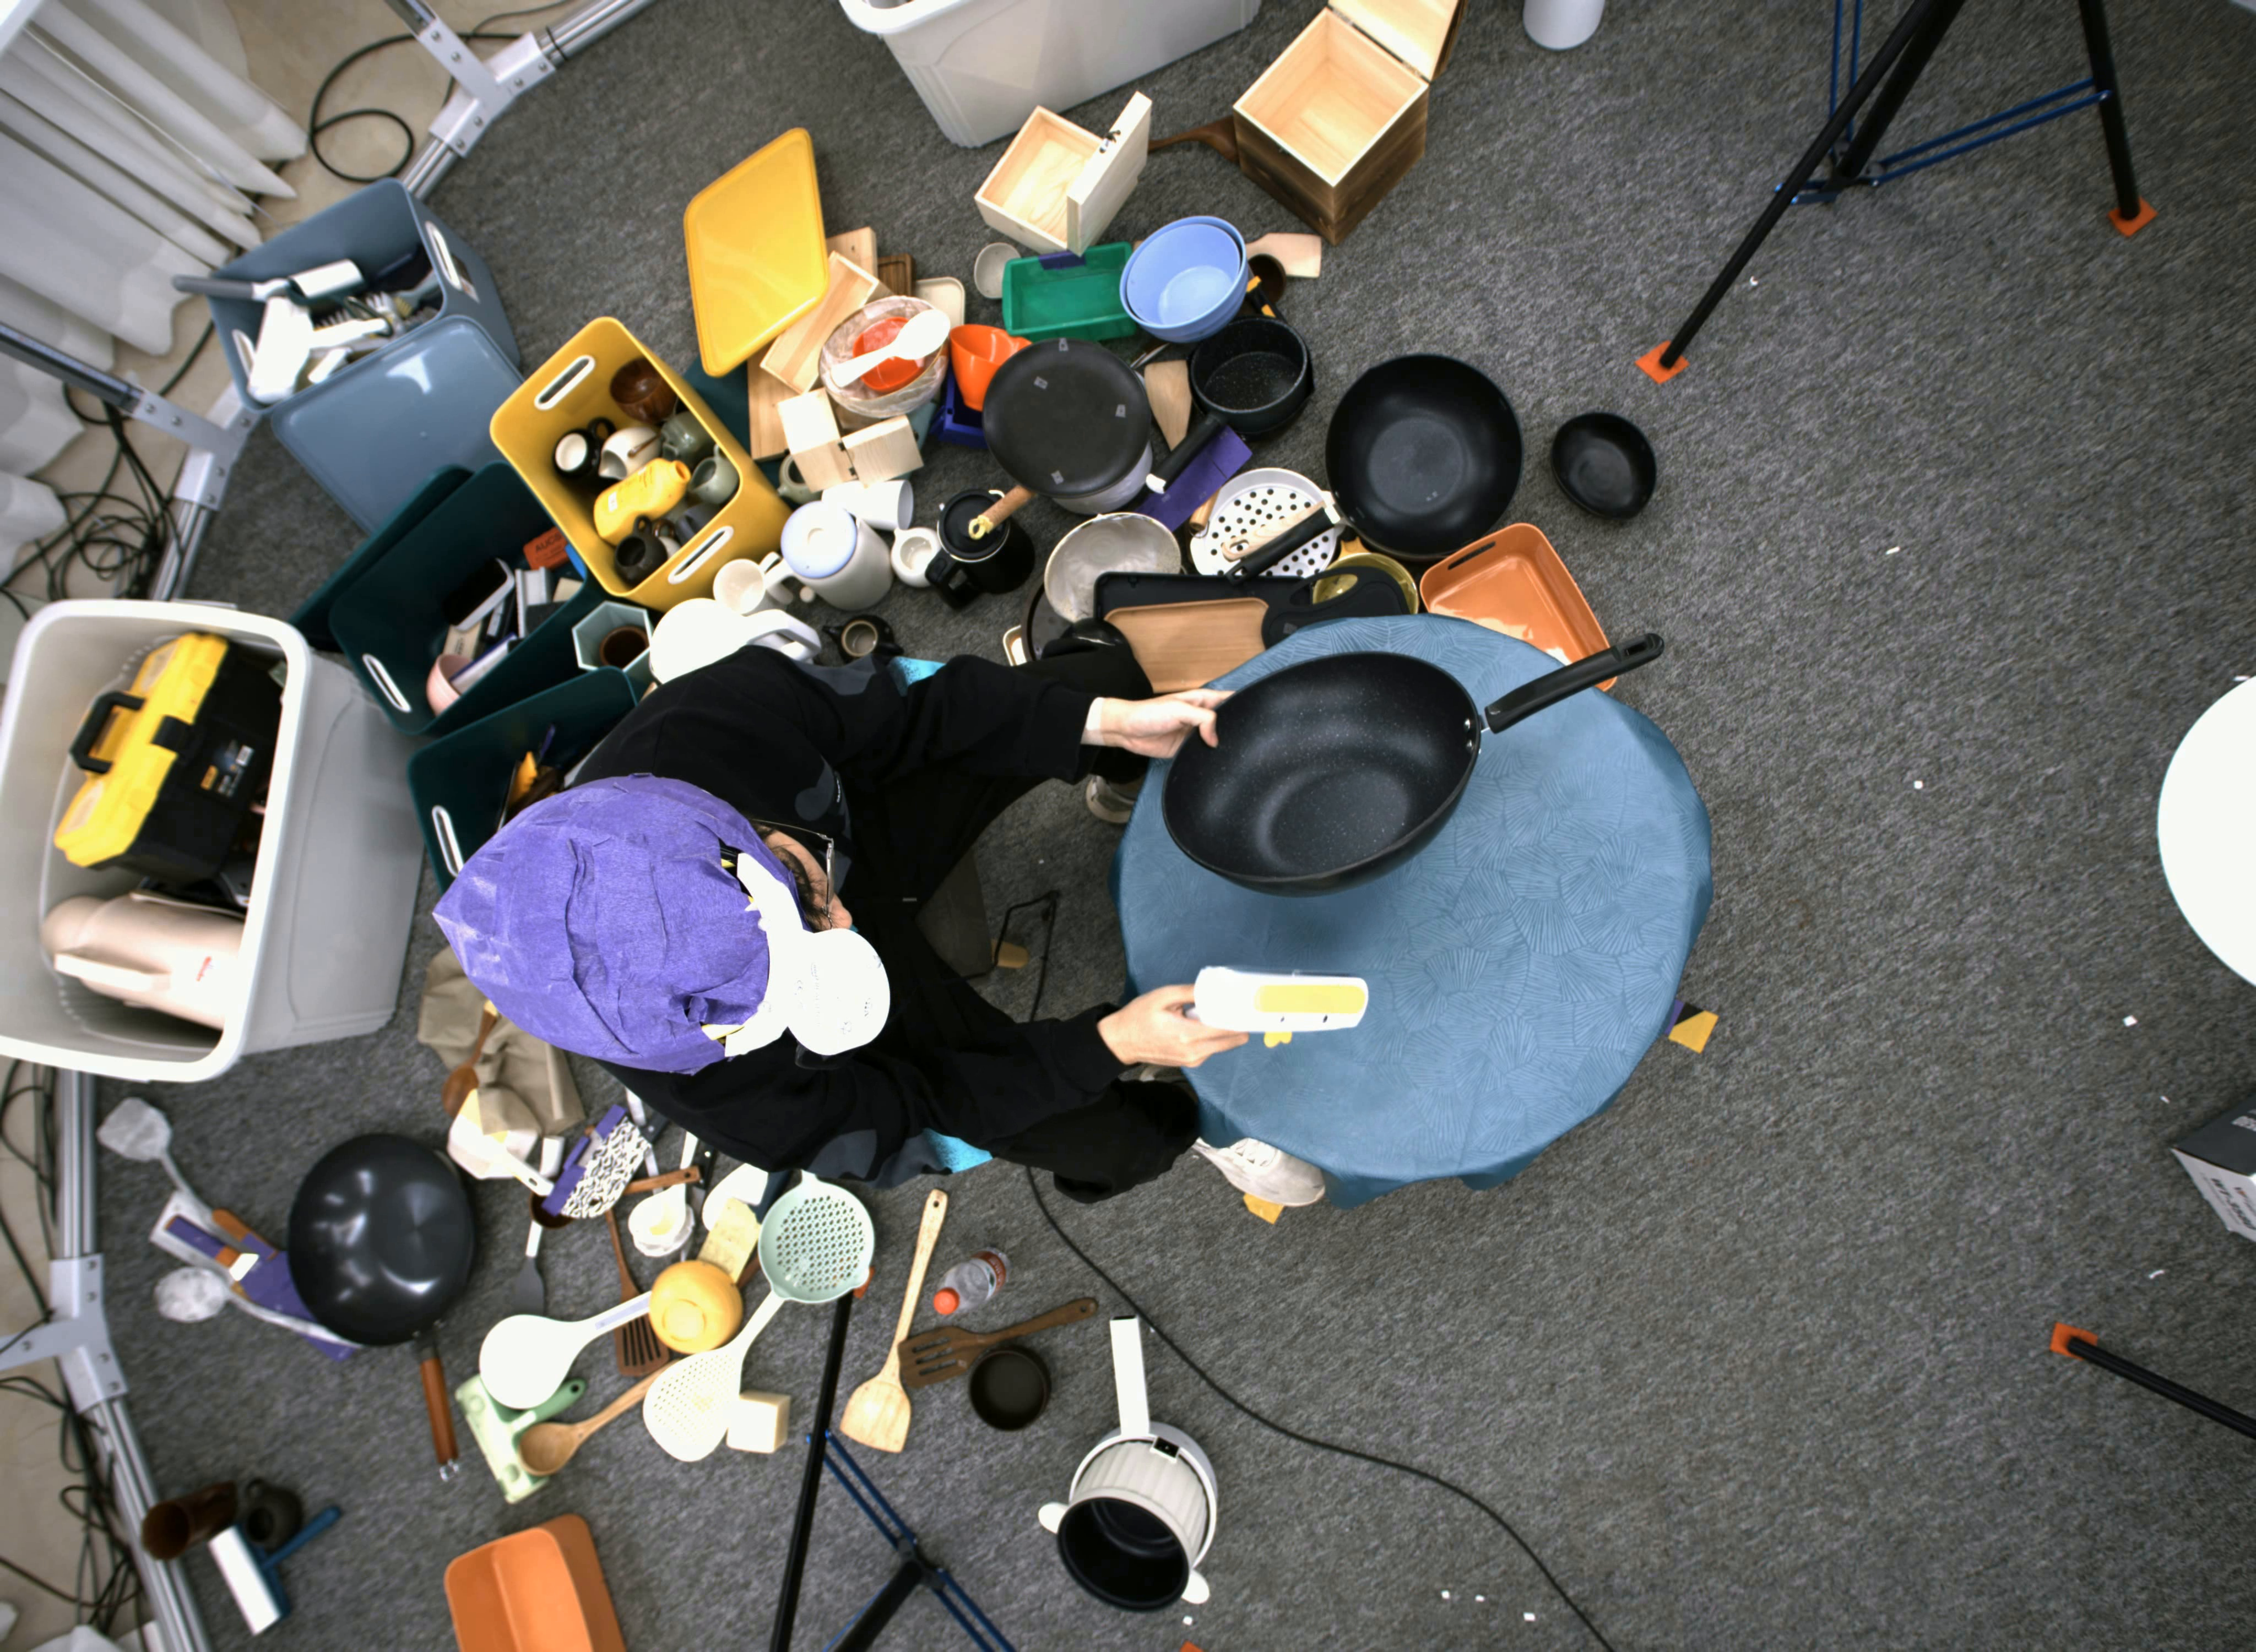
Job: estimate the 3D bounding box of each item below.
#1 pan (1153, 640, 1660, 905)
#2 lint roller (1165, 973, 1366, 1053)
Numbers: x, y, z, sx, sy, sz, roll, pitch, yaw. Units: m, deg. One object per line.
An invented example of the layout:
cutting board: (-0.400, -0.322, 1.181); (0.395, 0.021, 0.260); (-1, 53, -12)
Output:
pan: (0.257, -0.063, 1.282); (0.481, 0.113, 0.302); (-15, 44, 17)
lint roller: (0.102, 0.172, 1.309); (0.194, 0.191, 0.074); (-6, 87, 53)
